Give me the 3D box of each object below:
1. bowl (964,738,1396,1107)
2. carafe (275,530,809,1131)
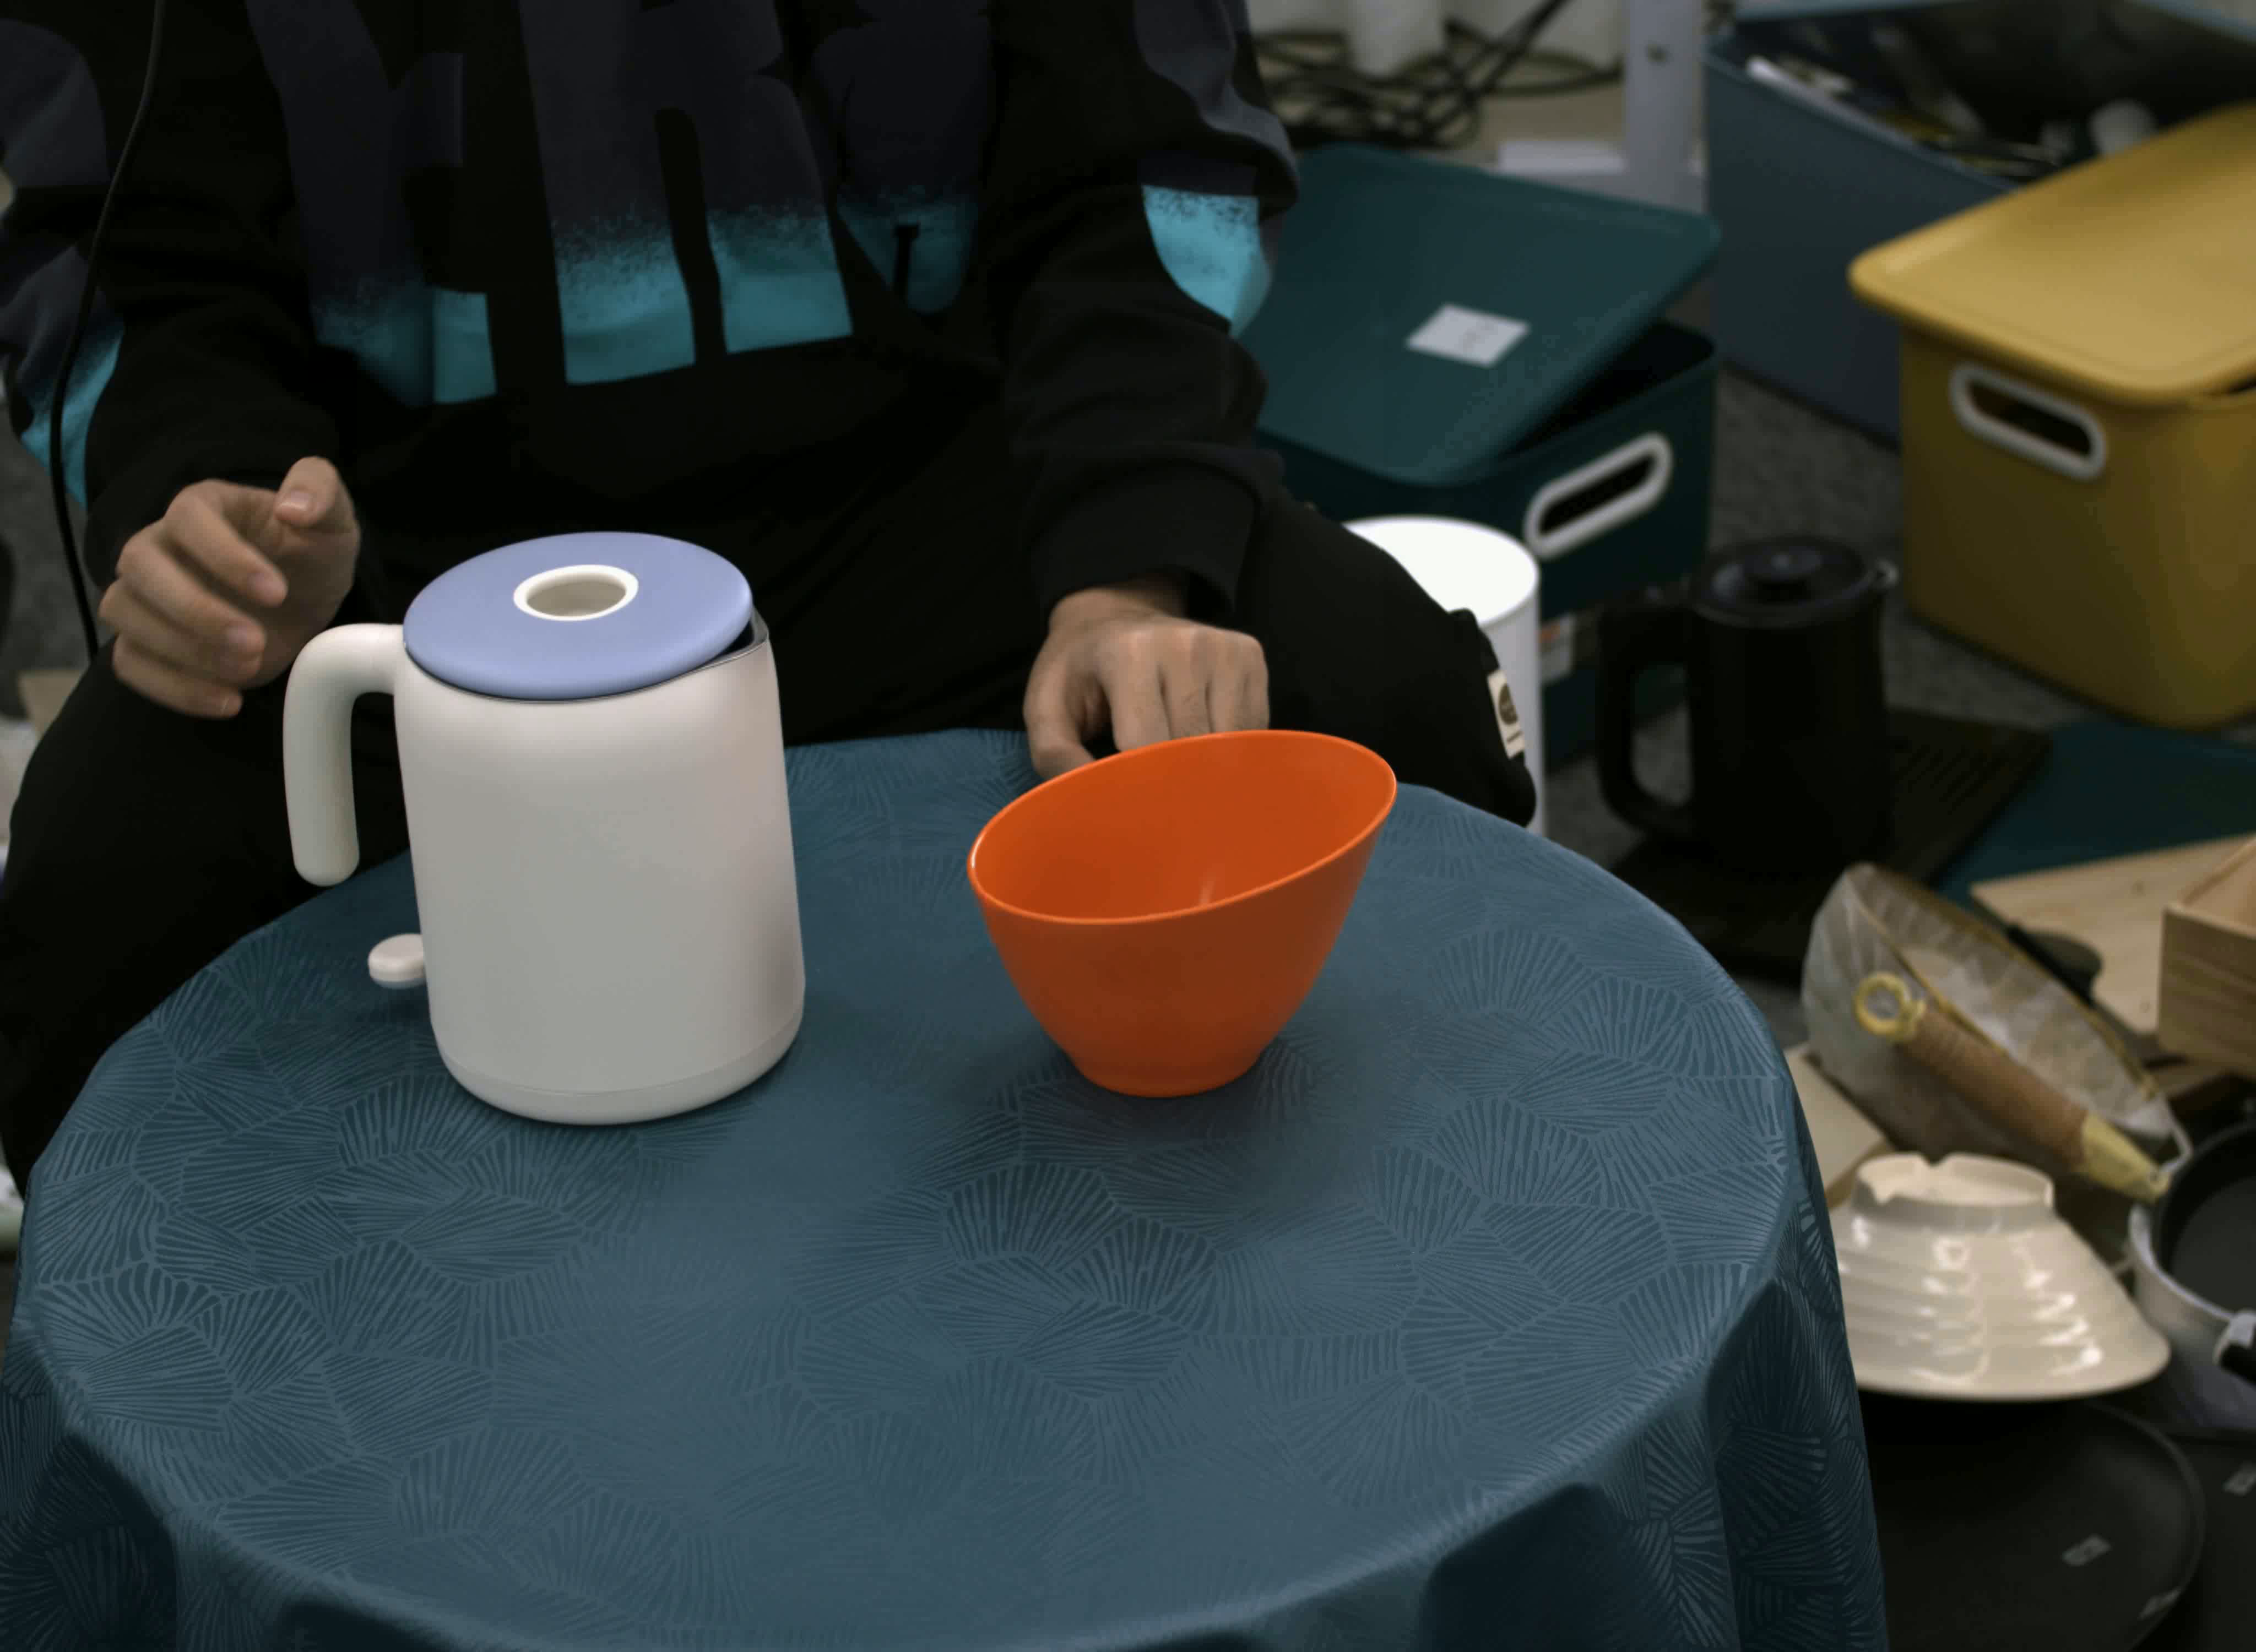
[{"bbox_3d":[0.018,0.037,1.913,0.147,0.103,0.150,-2,27,1],"label":"bowl"},{"bbox_3d":[-0.204,0.000,1.933,0.189,0.181,0.134,3,26,17],"label":"carafe"}]
